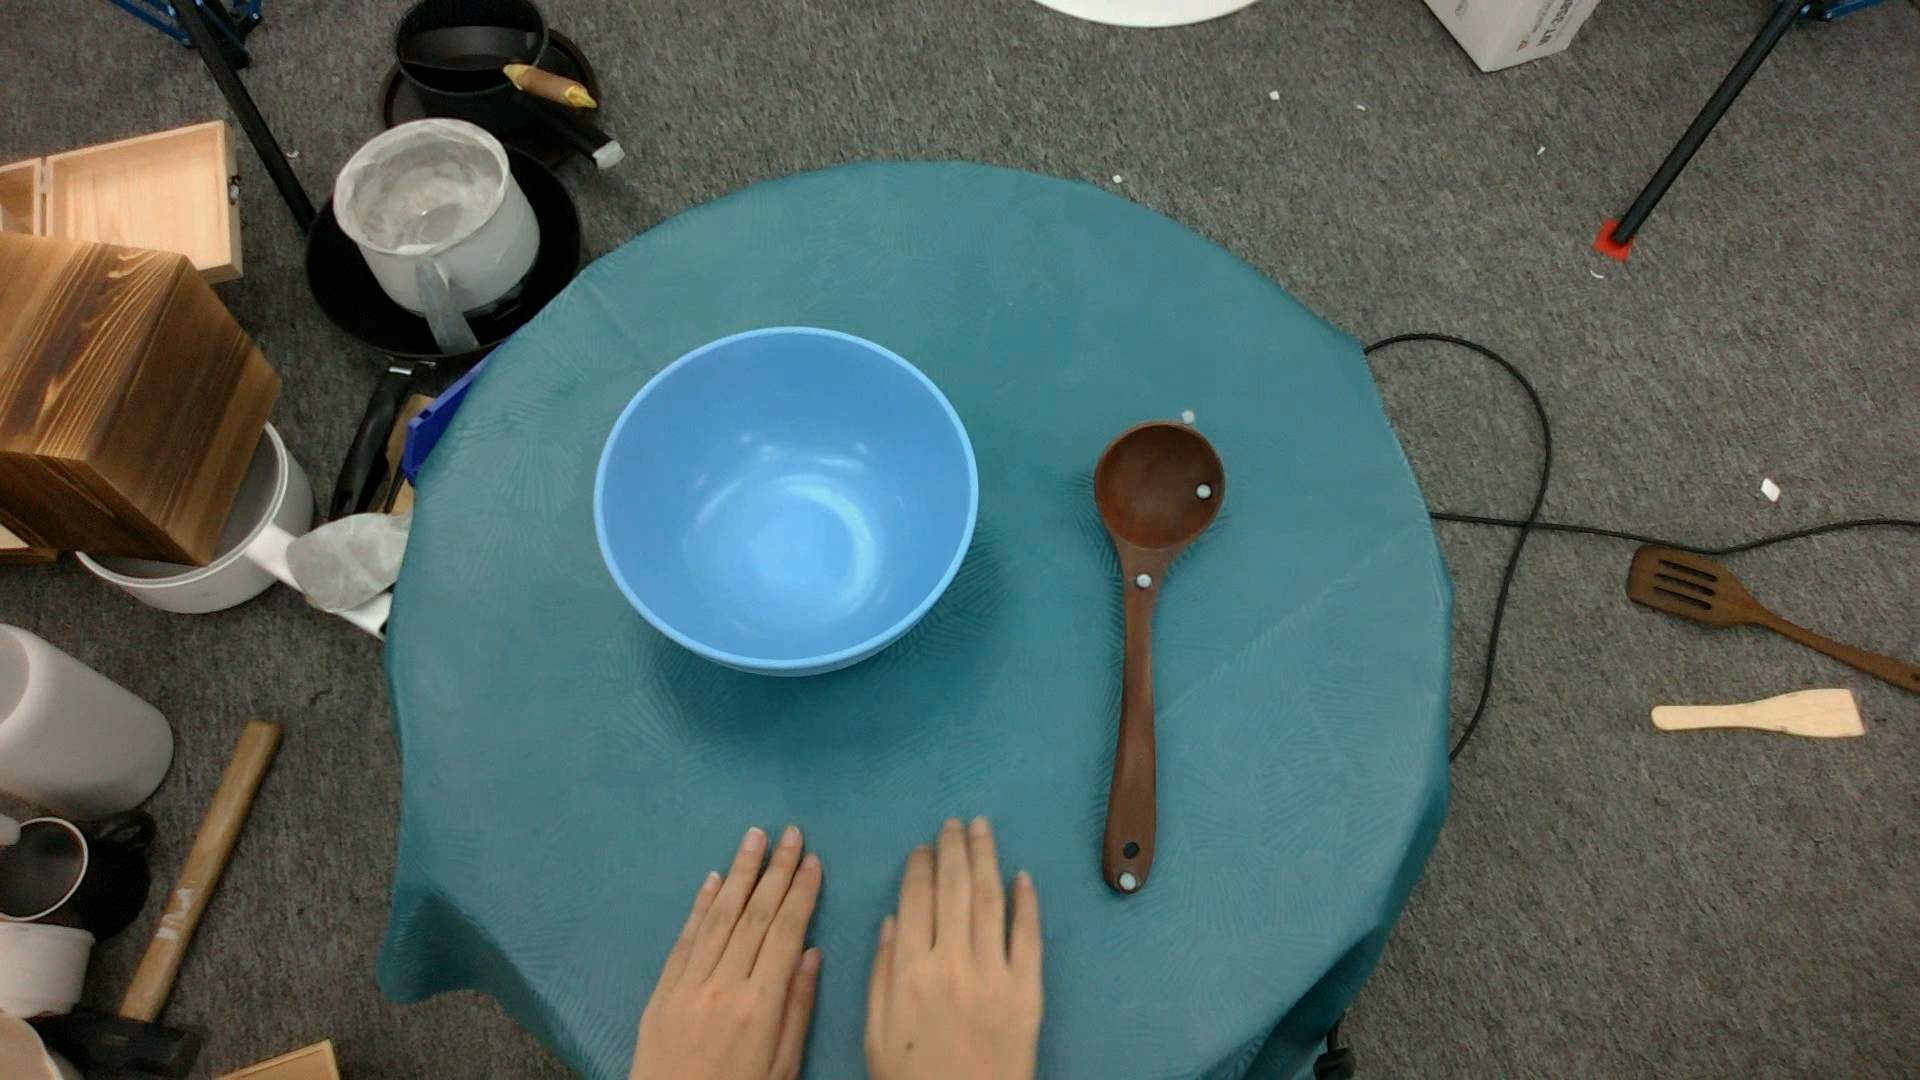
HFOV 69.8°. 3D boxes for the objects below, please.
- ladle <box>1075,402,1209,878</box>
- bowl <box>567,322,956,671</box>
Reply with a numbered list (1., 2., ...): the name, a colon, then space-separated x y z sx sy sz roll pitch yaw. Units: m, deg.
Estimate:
1. ladle: 0.092 0.047 0.744 0.076 0.065 0.261 9 65 -4
2. bowl: -0.106 -0.011 0.741 0.196 0.095 0.197 4 62 -8
